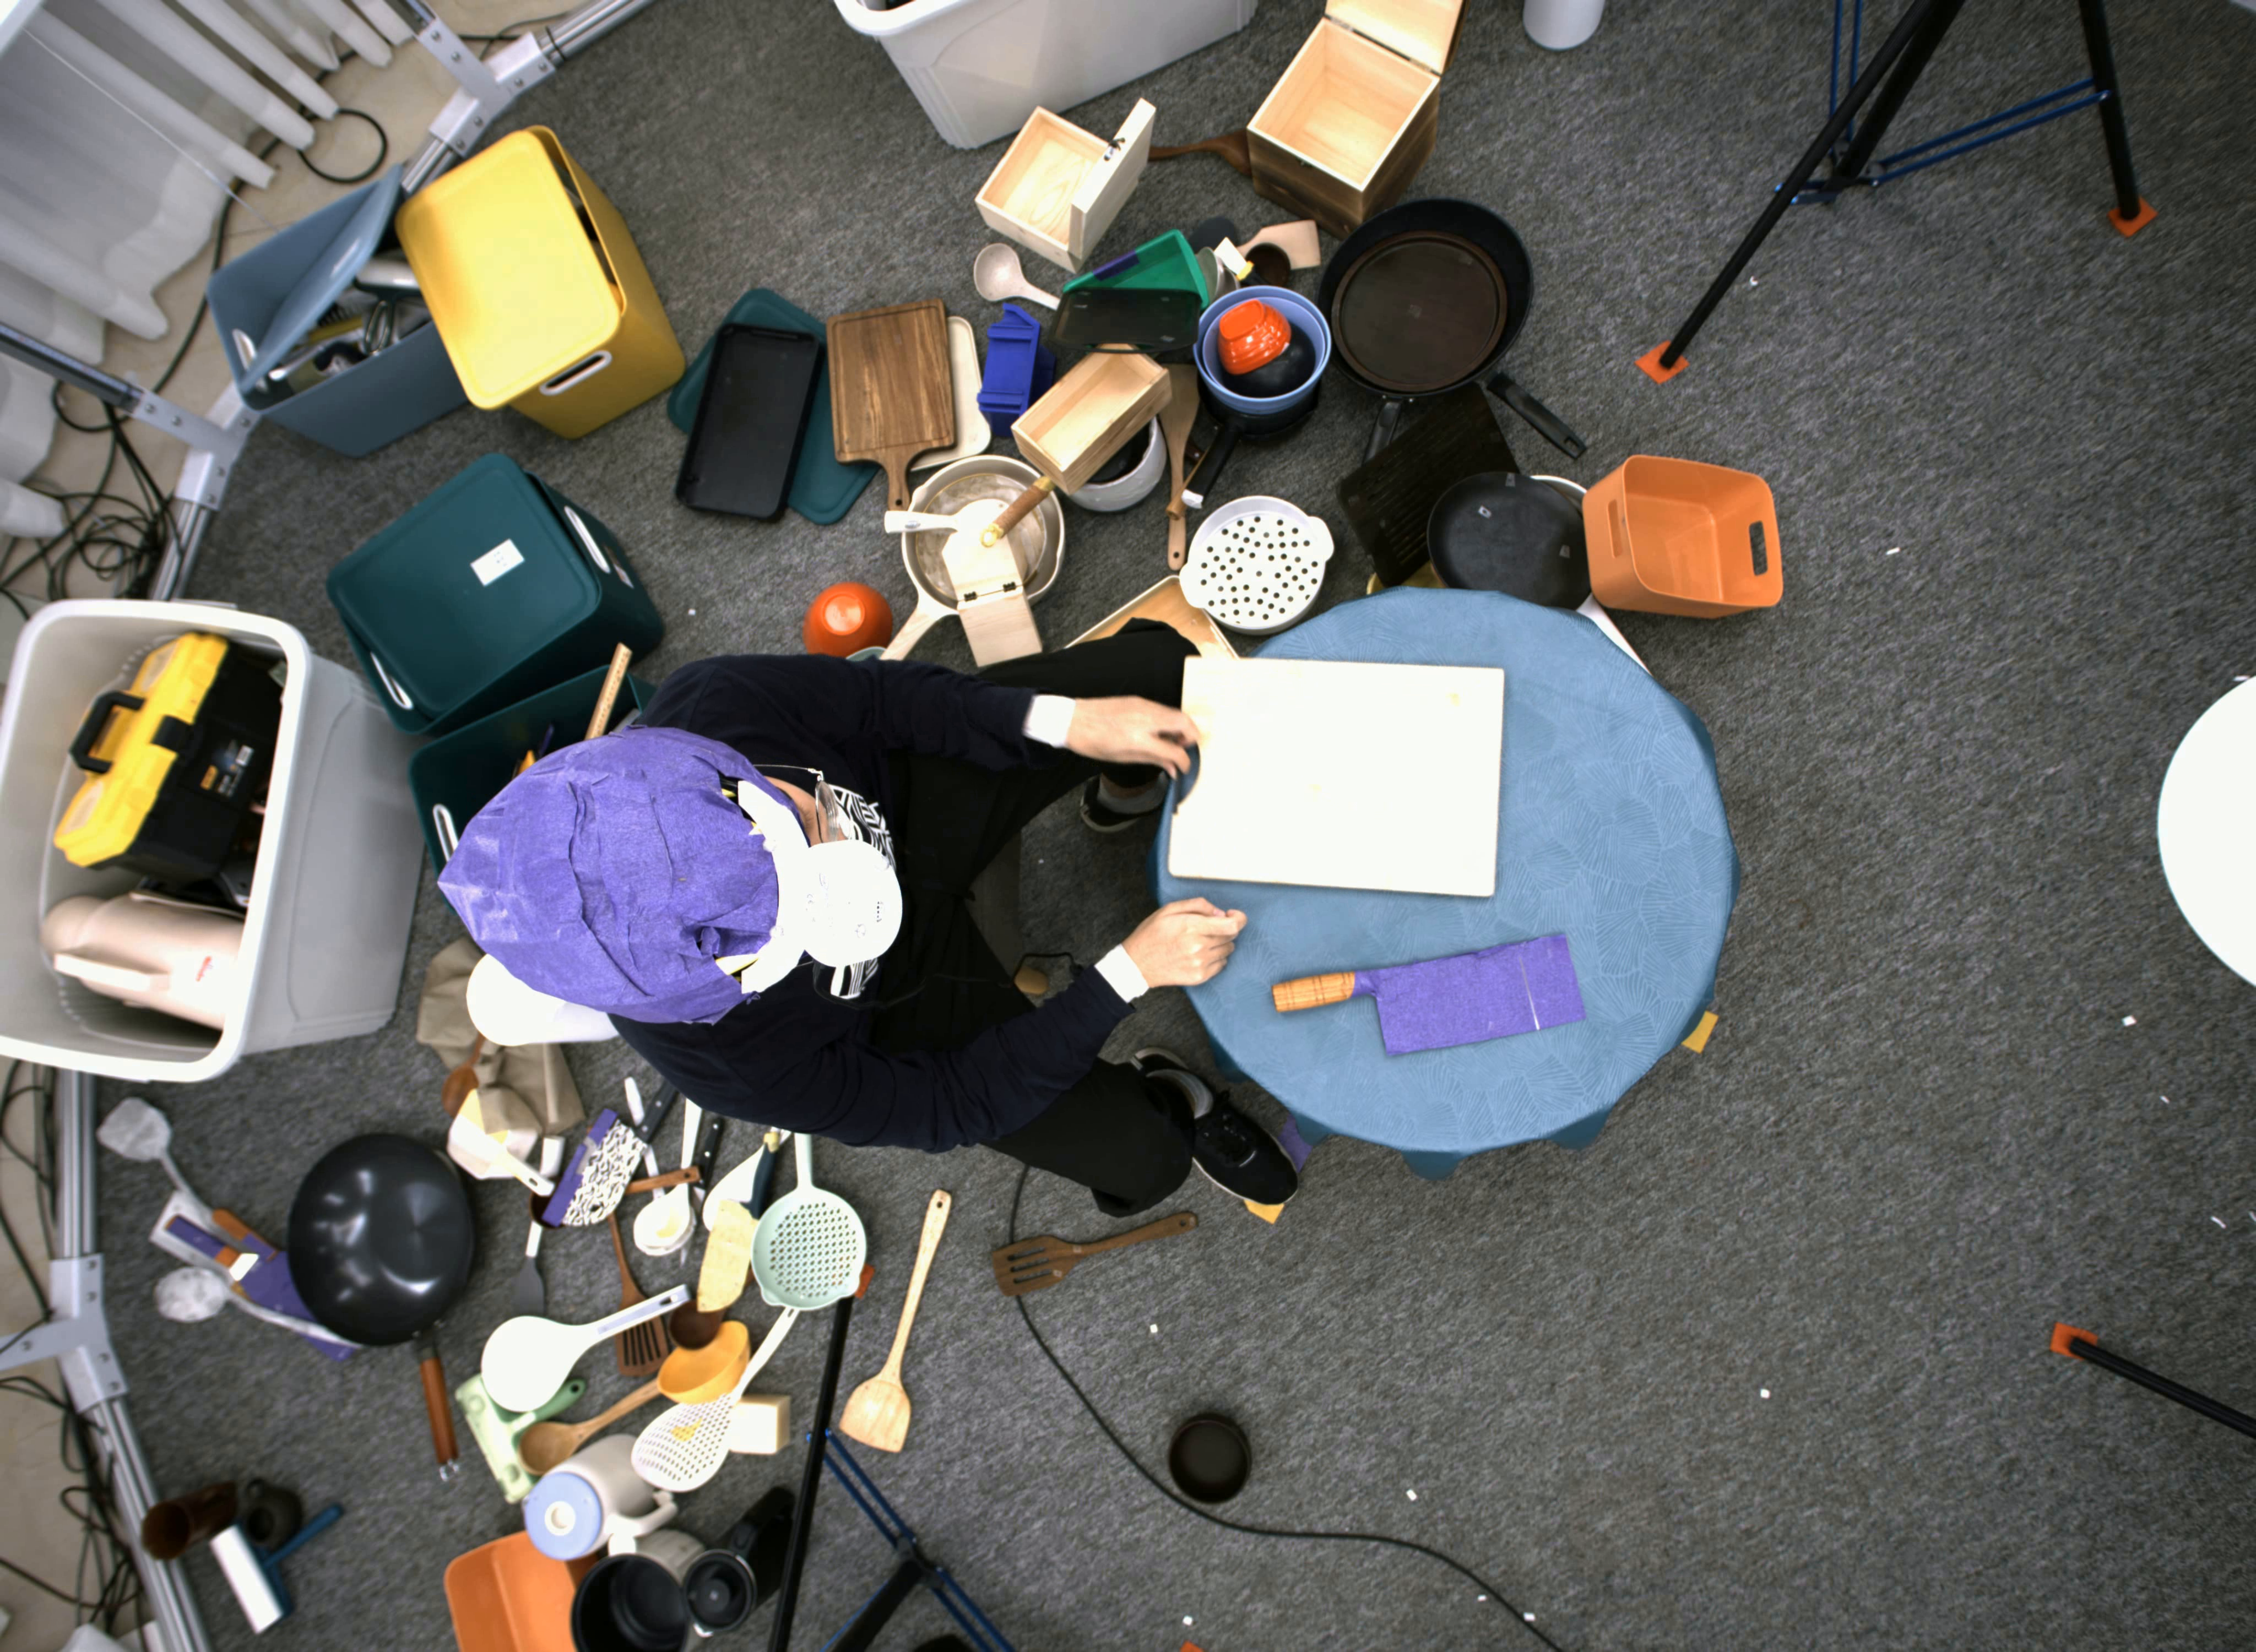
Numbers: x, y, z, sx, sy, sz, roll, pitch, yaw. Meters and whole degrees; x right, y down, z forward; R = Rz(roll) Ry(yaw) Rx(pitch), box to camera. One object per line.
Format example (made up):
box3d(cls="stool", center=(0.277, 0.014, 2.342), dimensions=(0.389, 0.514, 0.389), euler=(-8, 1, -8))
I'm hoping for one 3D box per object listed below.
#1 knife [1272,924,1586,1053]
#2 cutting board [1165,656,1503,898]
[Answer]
box3d(cls="knife", center=(0.312, 0.181, 1.432), dimensions=(0.317, 0.032, 0.103), euler=(-13, 84, 9))
box3d(cls="cutting board", center=(0.218, -0.056, 1.469), dimensions=(0.350, 0.023, 0.249), euler=(2, 87, 11))
